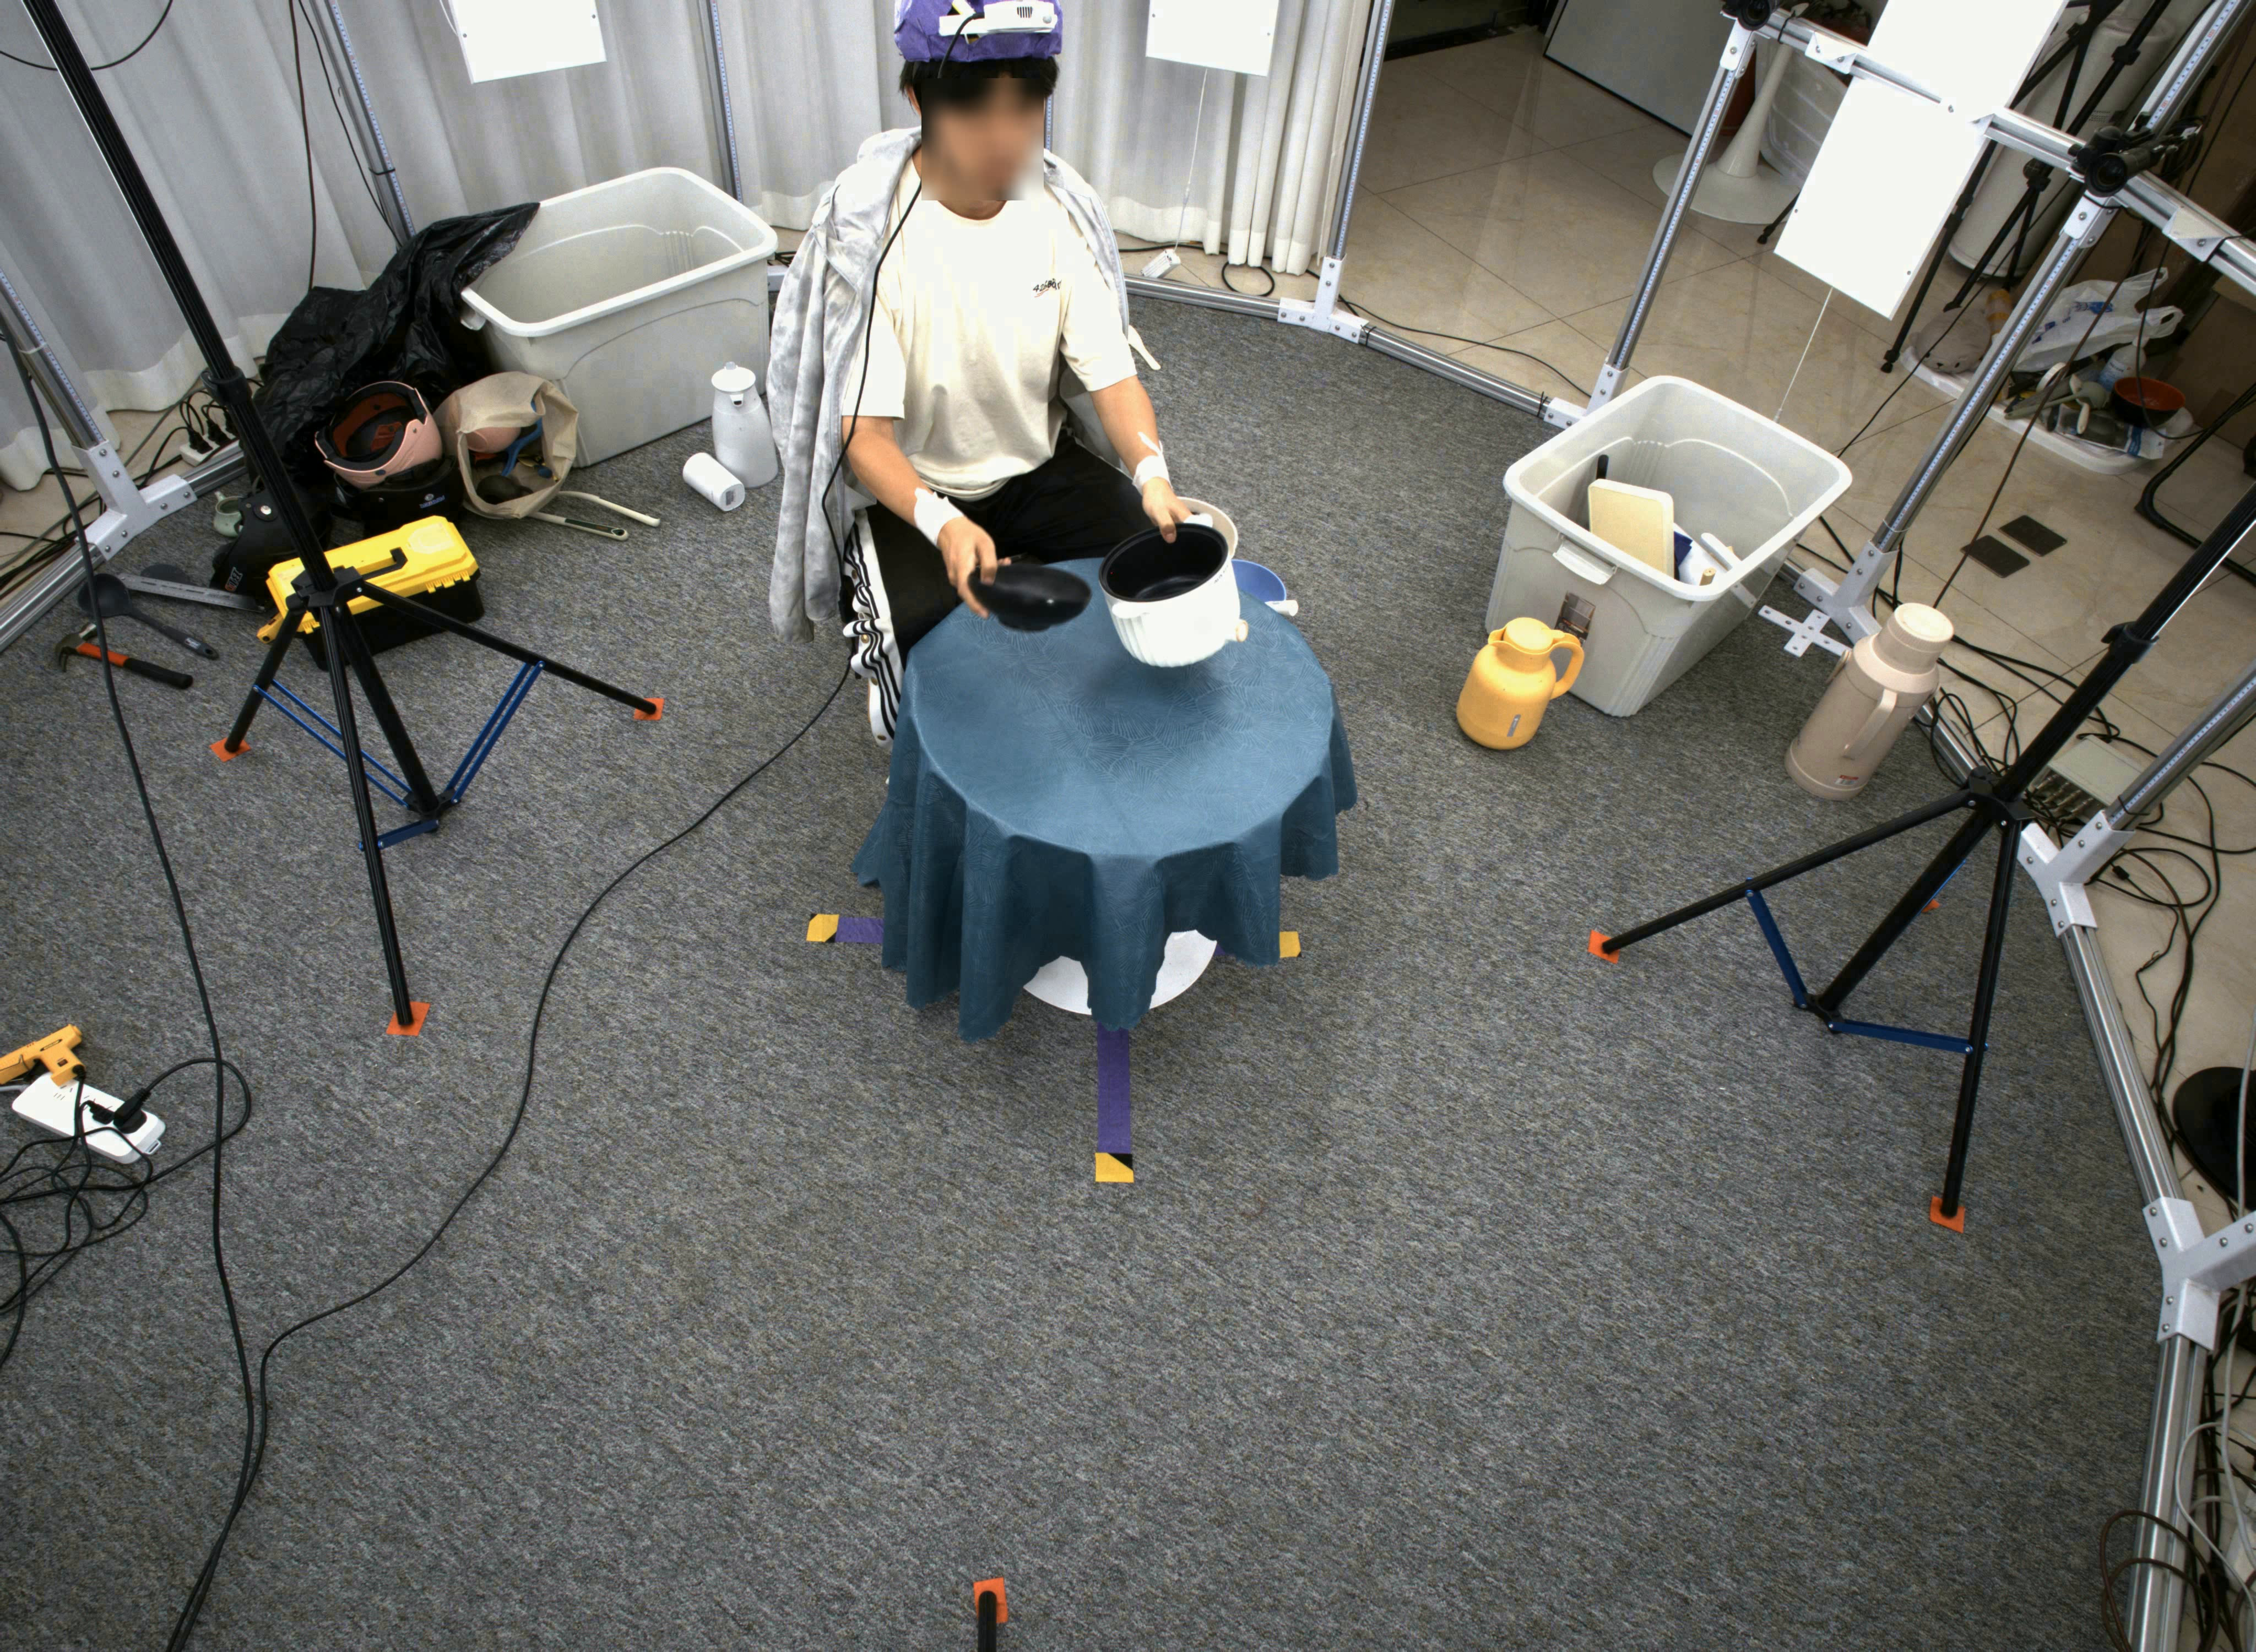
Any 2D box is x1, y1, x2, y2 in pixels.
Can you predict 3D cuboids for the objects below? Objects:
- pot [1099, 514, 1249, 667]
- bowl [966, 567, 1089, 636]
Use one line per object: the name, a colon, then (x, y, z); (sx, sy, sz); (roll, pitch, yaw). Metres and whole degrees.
pot: (0.069, -0.314, 1.784); (0.192, 0.139, 0.244); (10, 49, 33)
bowl: (-0.135, -0.289, 1.679); (0.171, 0.065, 0.139); (17, 28, 19)
